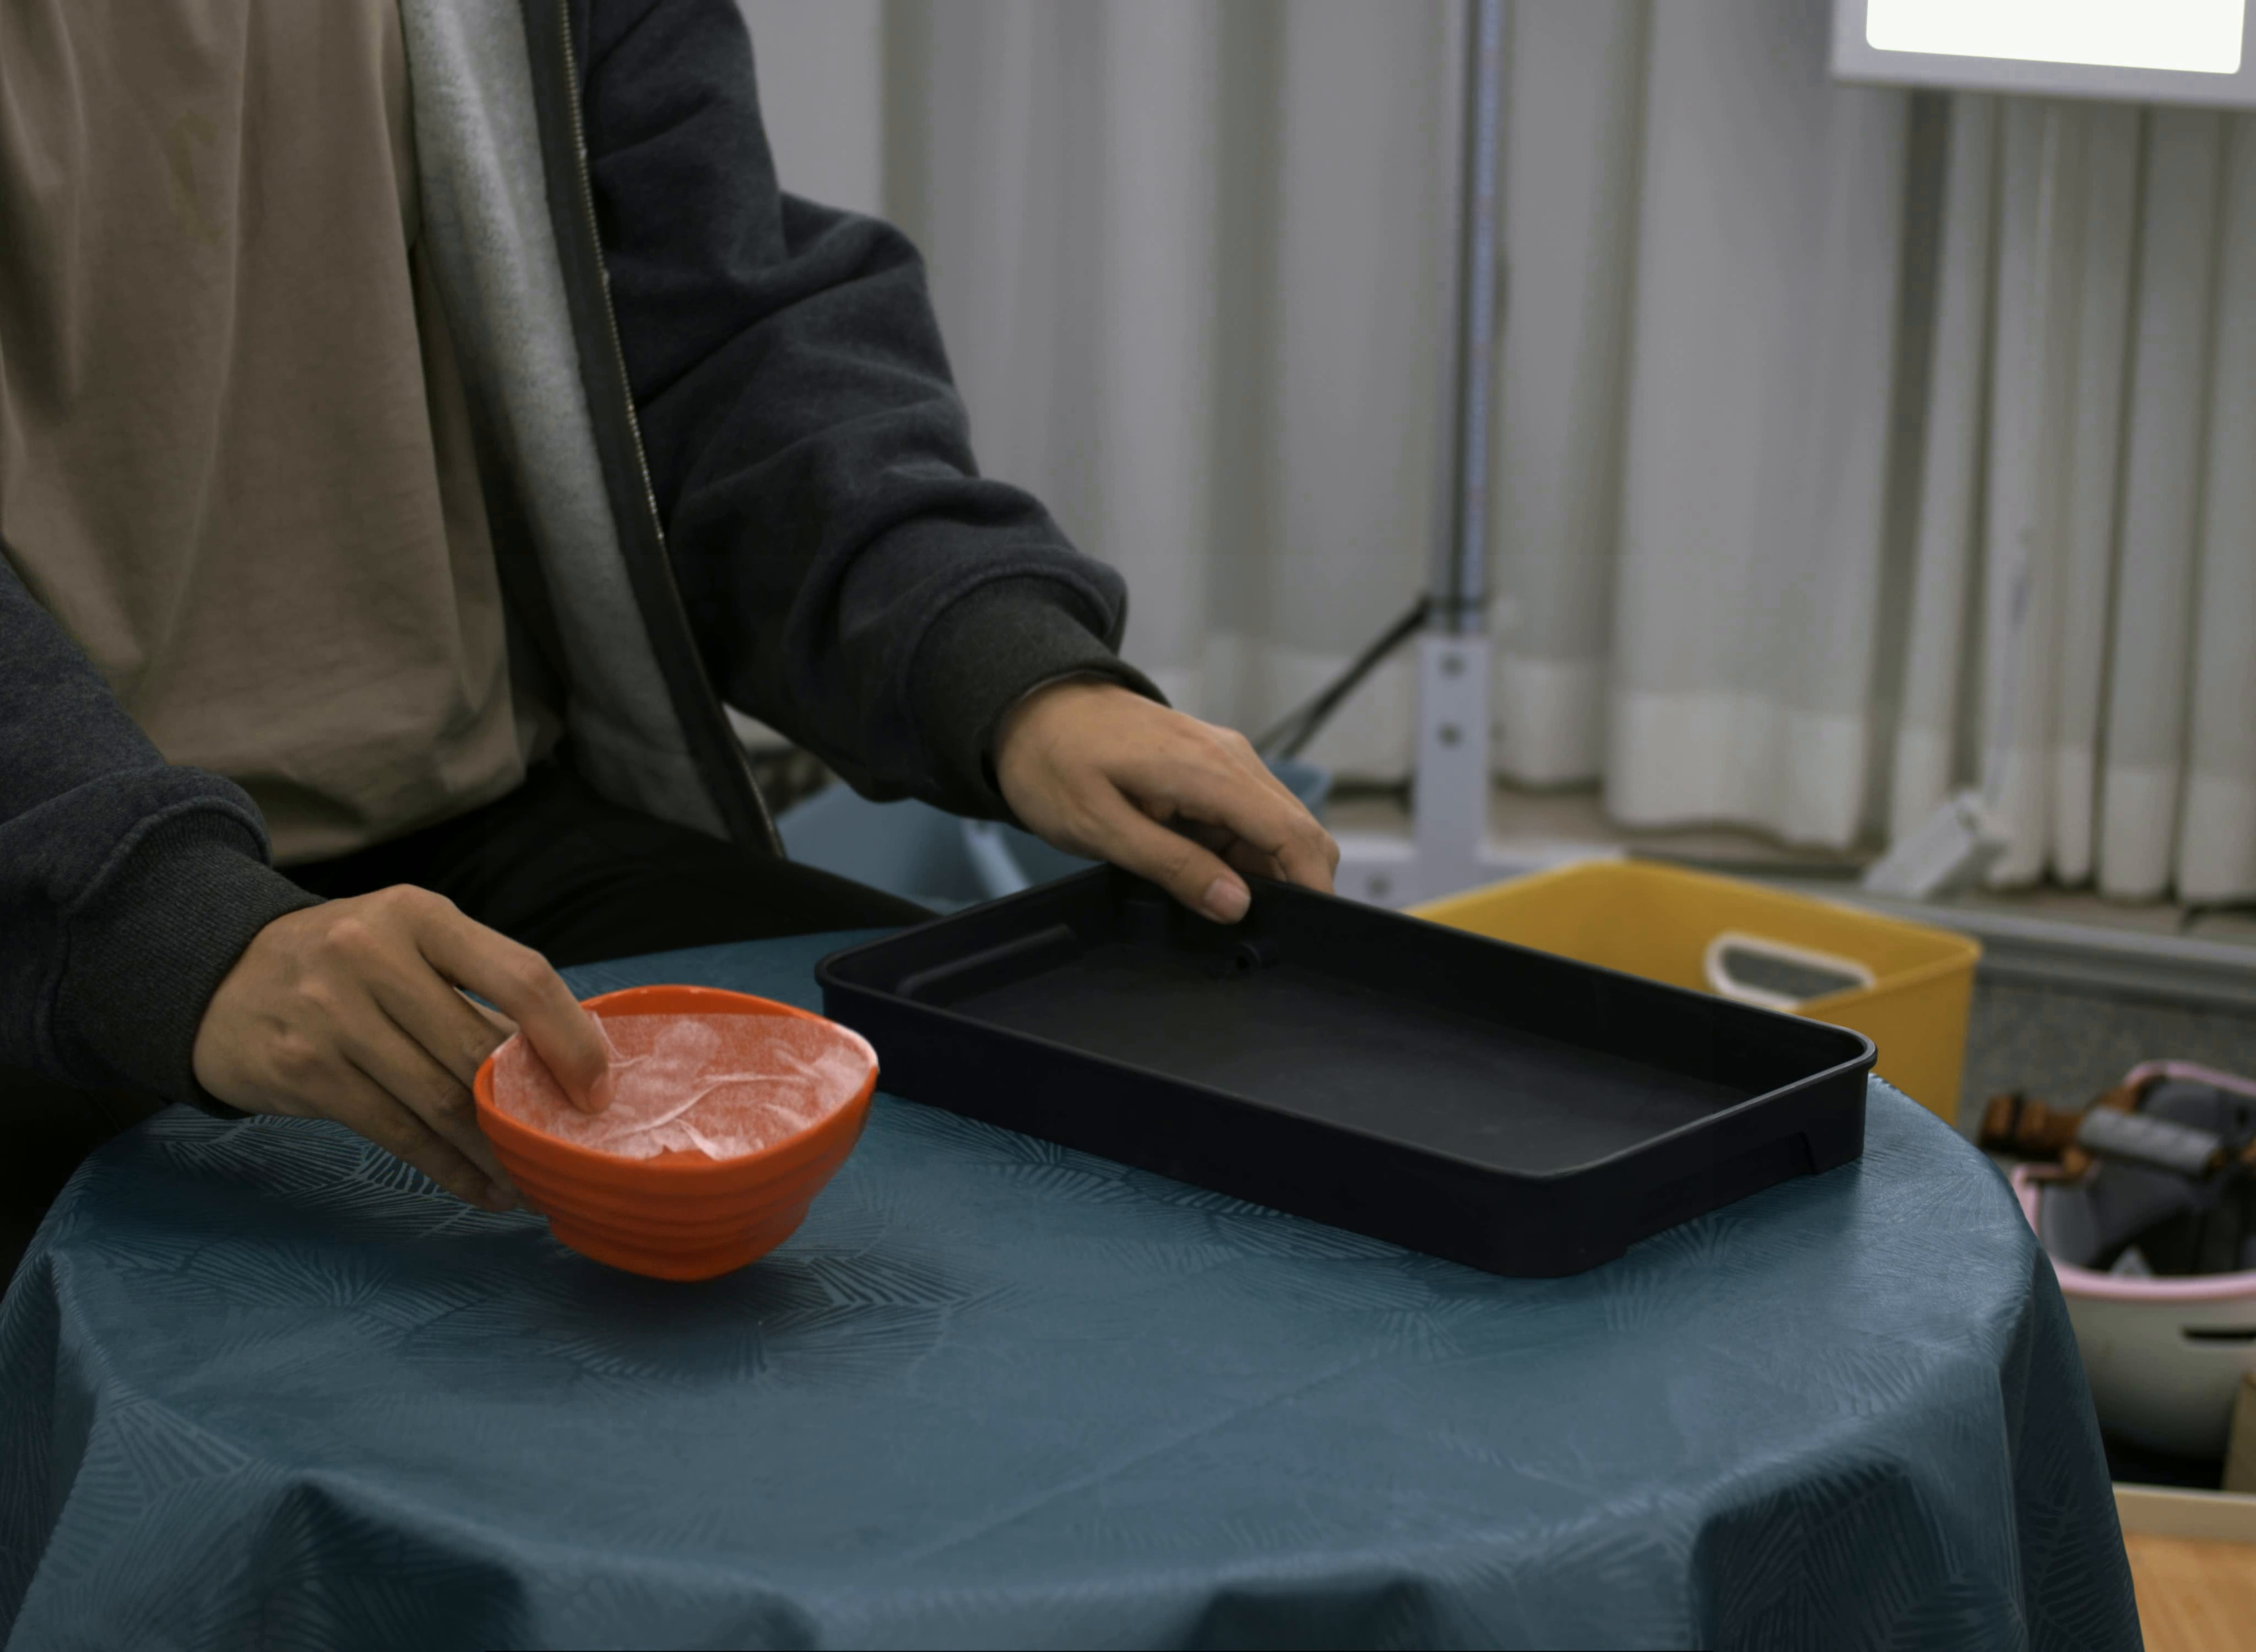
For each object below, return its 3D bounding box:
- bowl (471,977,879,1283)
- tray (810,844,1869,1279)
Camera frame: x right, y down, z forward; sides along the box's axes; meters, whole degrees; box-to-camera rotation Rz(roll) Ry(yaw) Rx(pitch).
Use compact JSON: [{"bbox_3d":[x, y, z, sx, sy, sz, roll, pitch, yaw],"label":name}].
[{"bbox_3d":[-0.132,0.092,1.537,0.118,0.052,0.118,2,26,-1],"label":"bowl"},{"bbox_3d":[0.064,0.071,1.698,0.314,0.037,0.185,15,21,39],"label":"tray"}]
